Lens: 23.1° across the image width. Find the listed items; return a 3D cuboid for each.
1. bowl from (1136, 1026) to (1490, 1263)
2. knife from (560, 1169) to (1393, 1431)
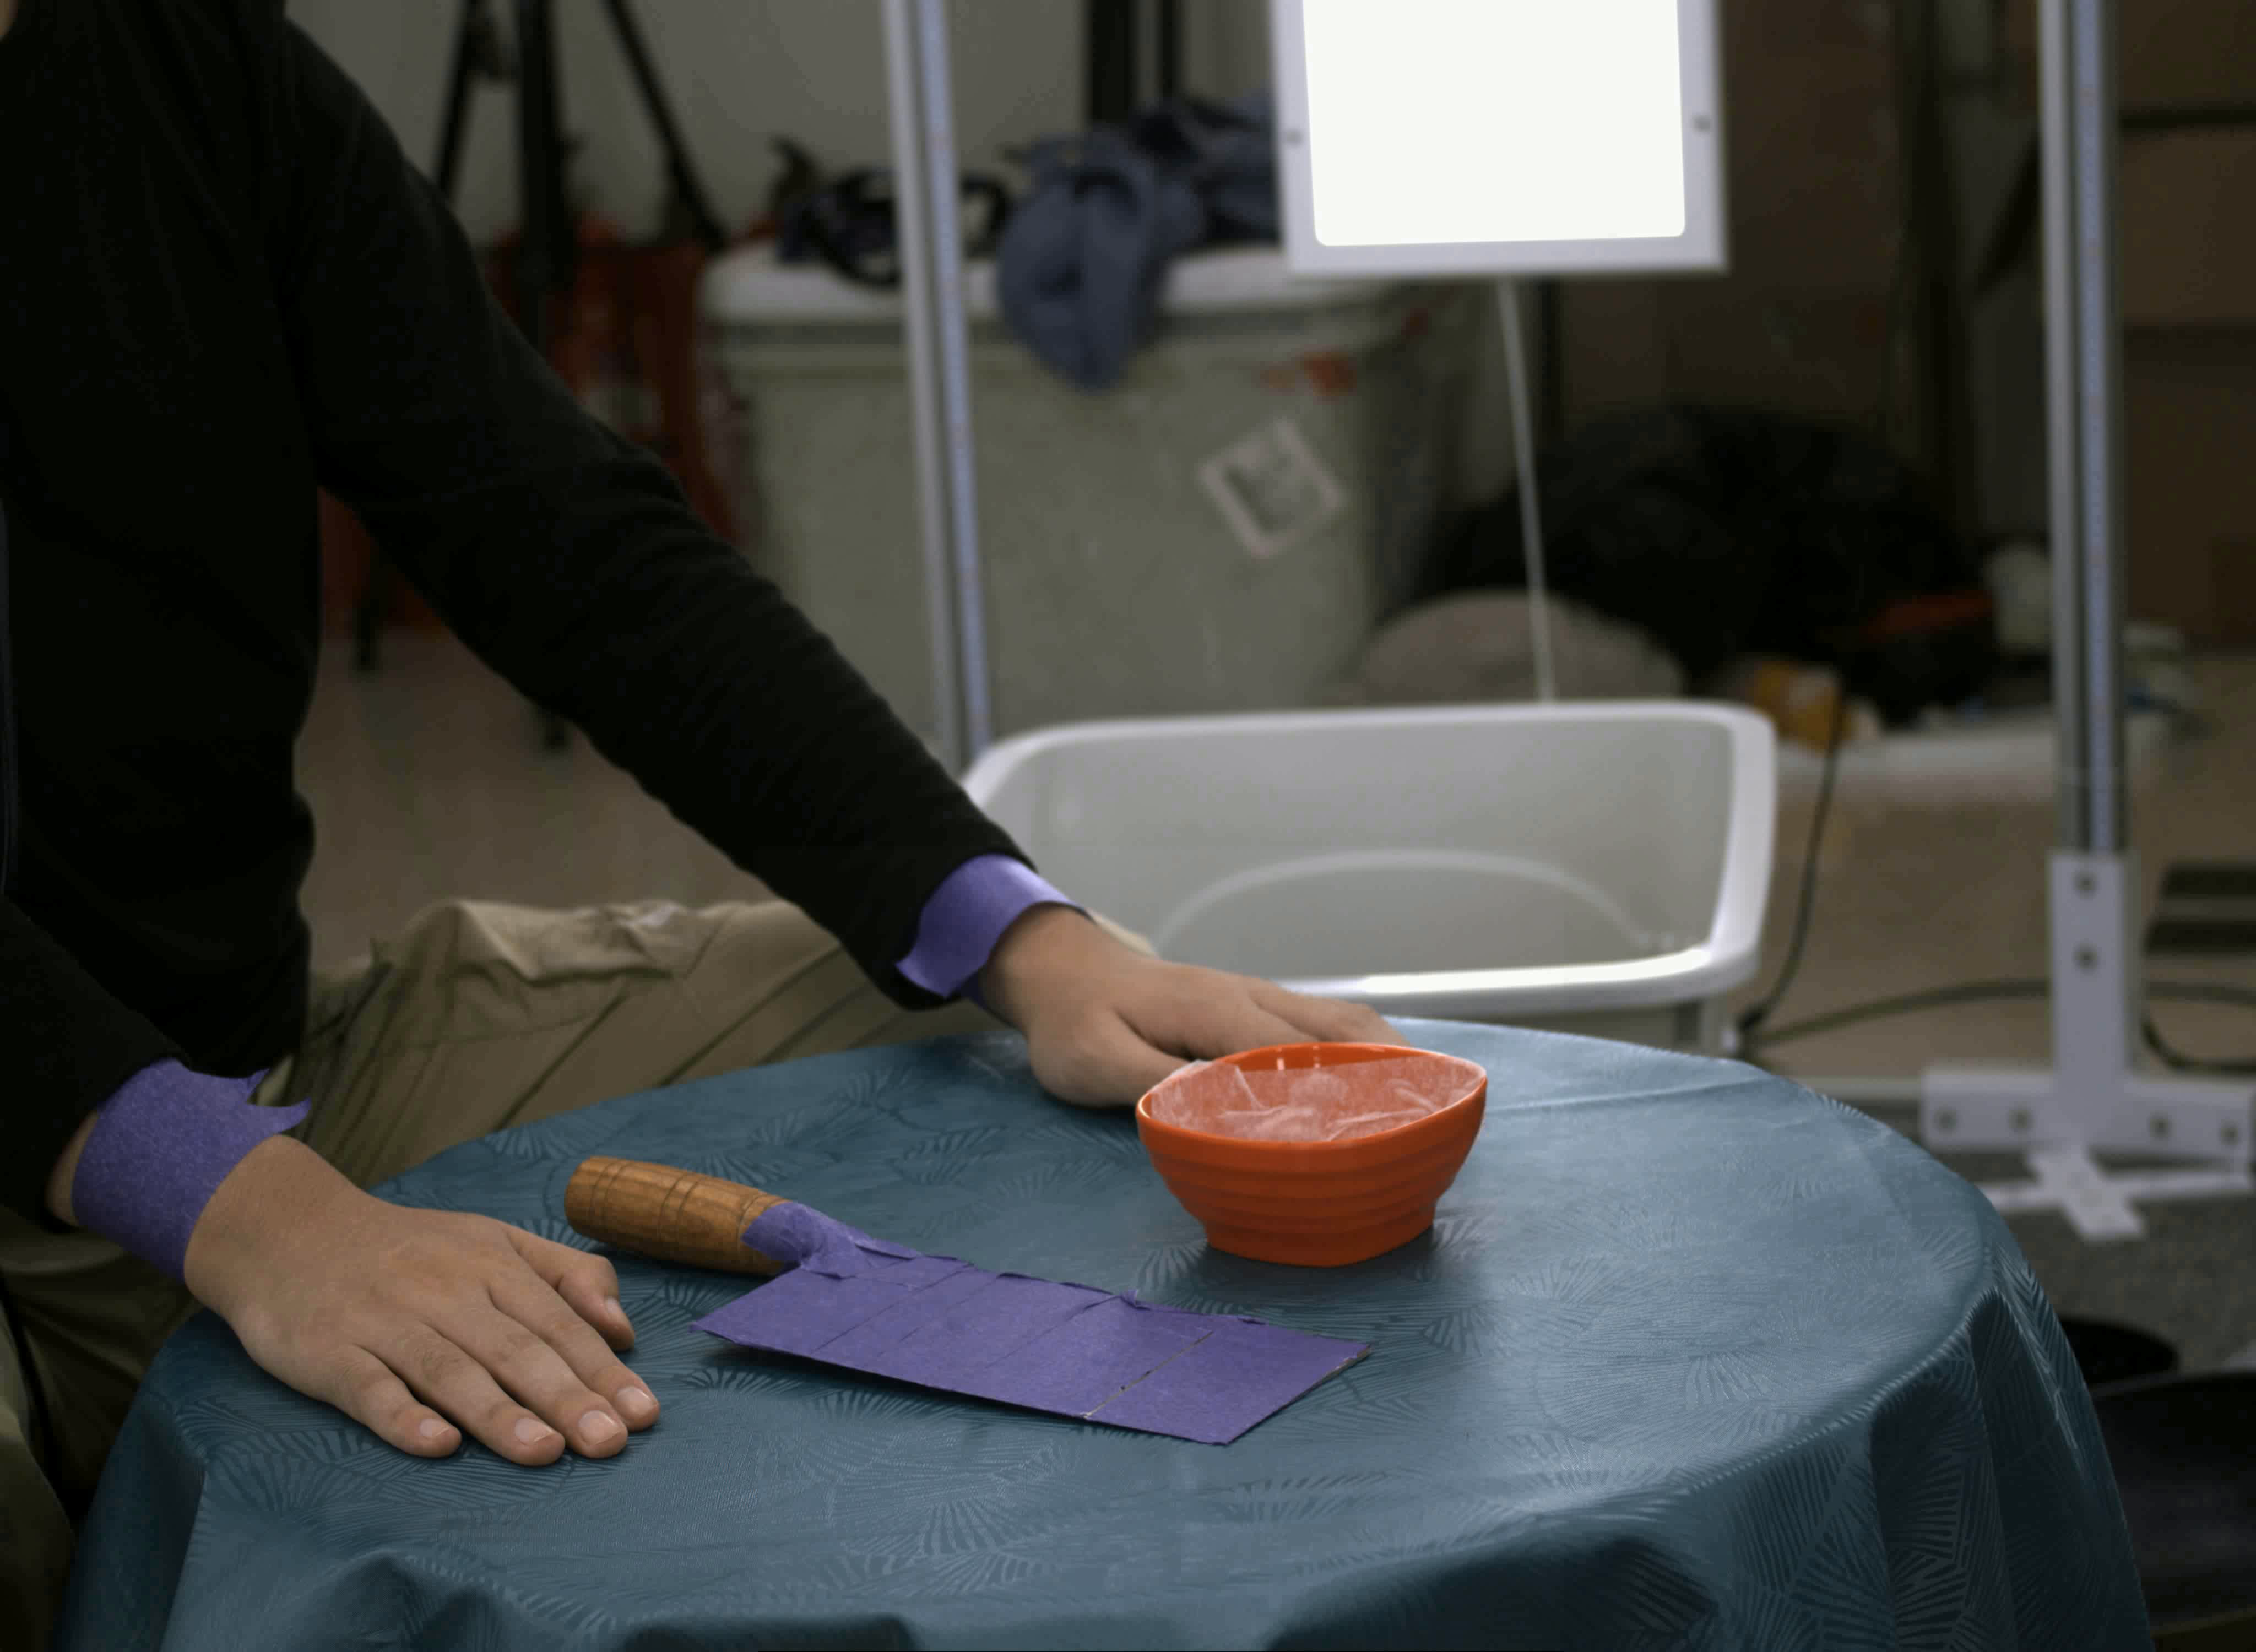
[{"bbox_3d":[0.063,0.108,1.831,0.118,0.051,0.119,-4,17,0],"label":"bowl"},{"bbox_3d":[-0.072,0.151,1.771,0.321,0.032,0.101,5,17,35],"label":"knife"}]
